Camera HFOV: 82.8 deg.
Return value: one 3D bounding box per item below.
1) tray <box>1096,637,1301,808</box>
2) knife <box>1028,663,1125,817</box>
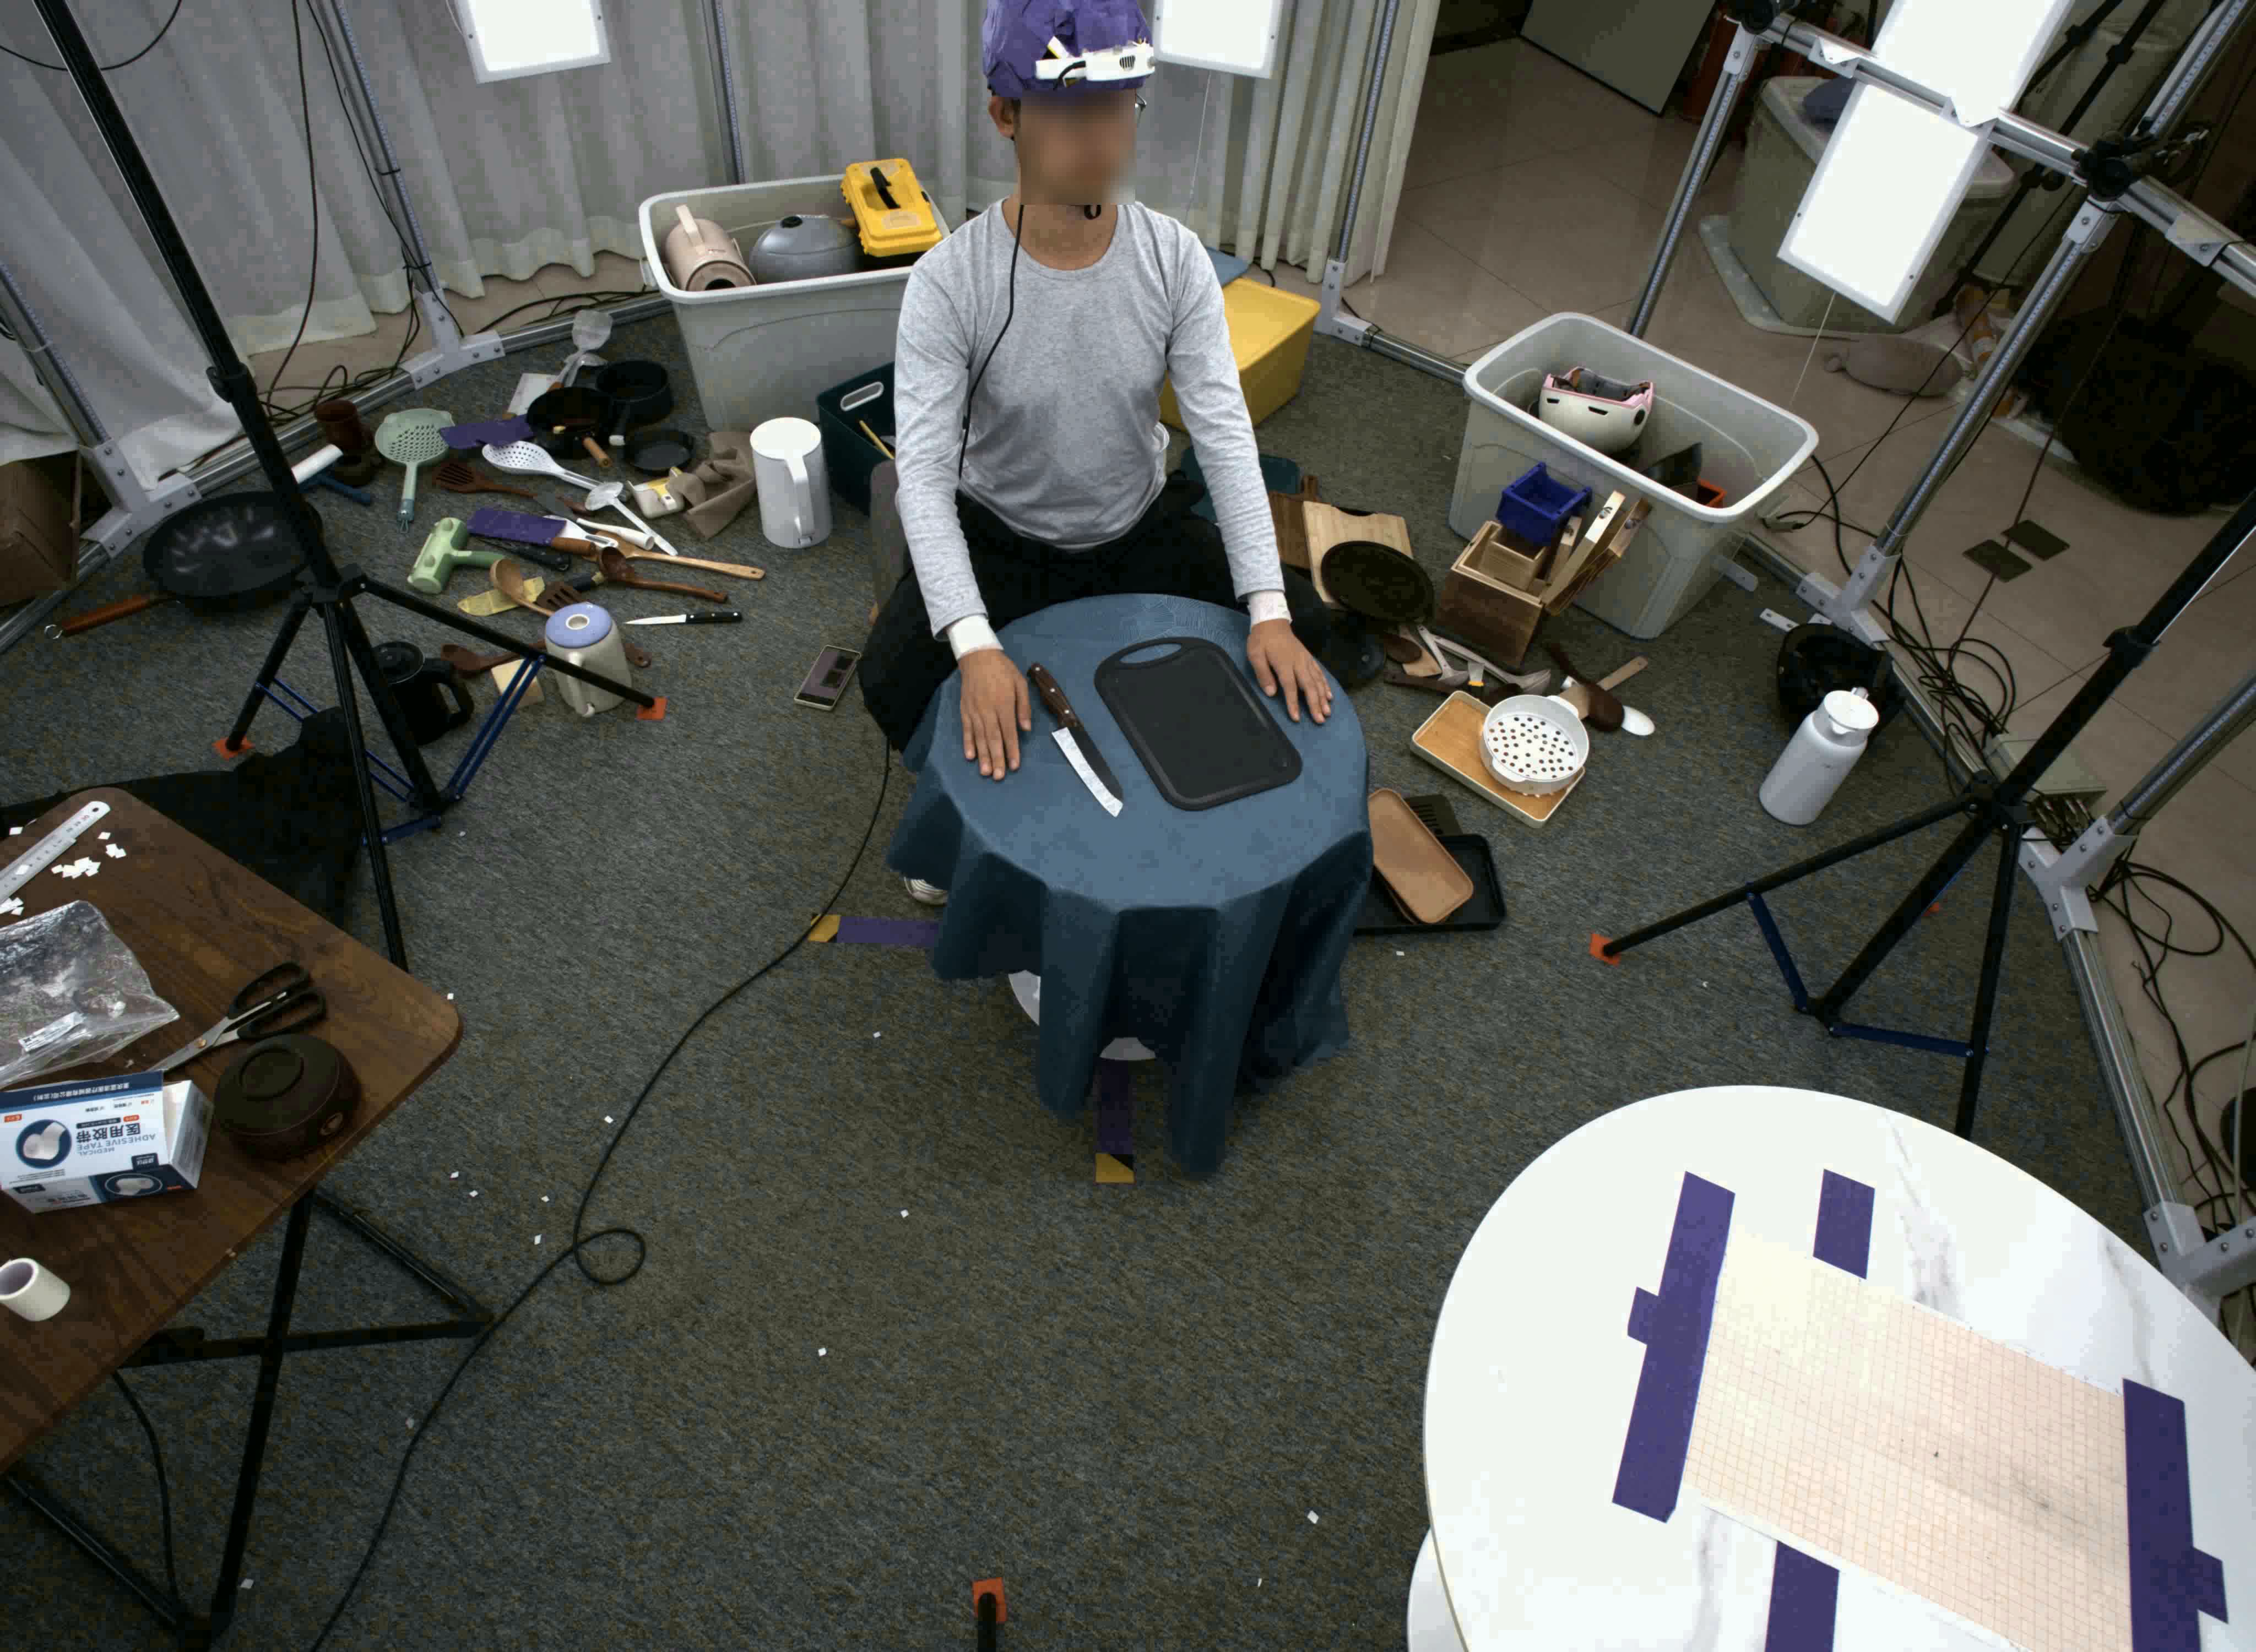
[{"bbox_3d":[0.092,-0.157,1.806,0.211,0.009,0.333,-16,52,-17],"label":"tray"},{"bbox_3d":[-0.073,-0.120,1.757,0.050,0.019,0.295,-20,56,-14],"label":"knife"}]
